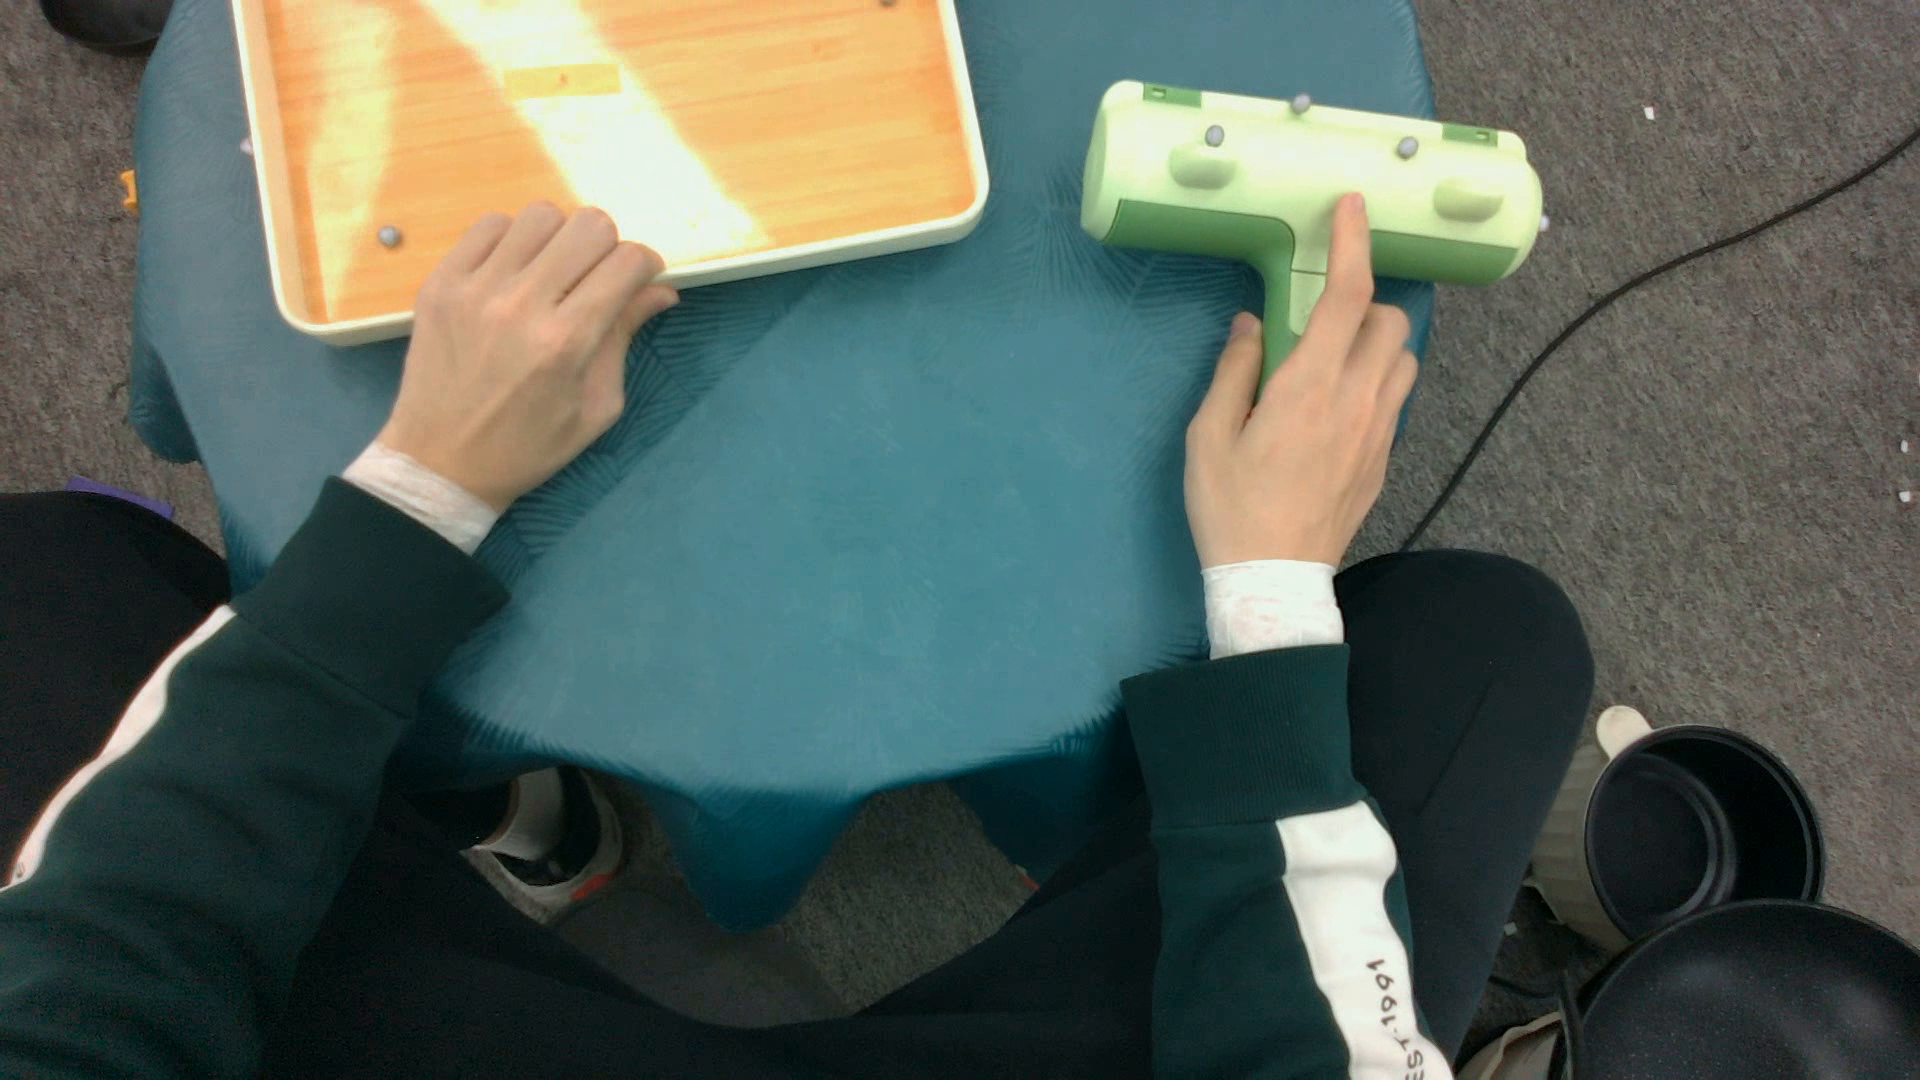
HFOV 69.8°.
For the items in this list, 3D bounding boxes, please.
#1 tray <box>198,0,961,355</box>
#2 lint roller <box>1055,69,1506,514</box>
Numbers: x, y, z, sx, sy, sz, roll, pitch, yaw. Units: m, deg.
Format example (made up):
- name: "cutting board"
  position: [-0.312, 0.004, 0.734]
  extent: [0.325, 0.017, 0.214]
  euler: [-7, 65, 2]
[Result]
- name: "tray"
  position: [-0.163, -0.200, 0.598]
  extent: [0.300, 0.027, 0.191]
  euler: [-12, 84, -5]
- name: "lint roller"
  position: [0.141, -0.107, 0.593]
  extent: [0.199, 0.082, 0.183]
  euler: [4, 78, -9]
